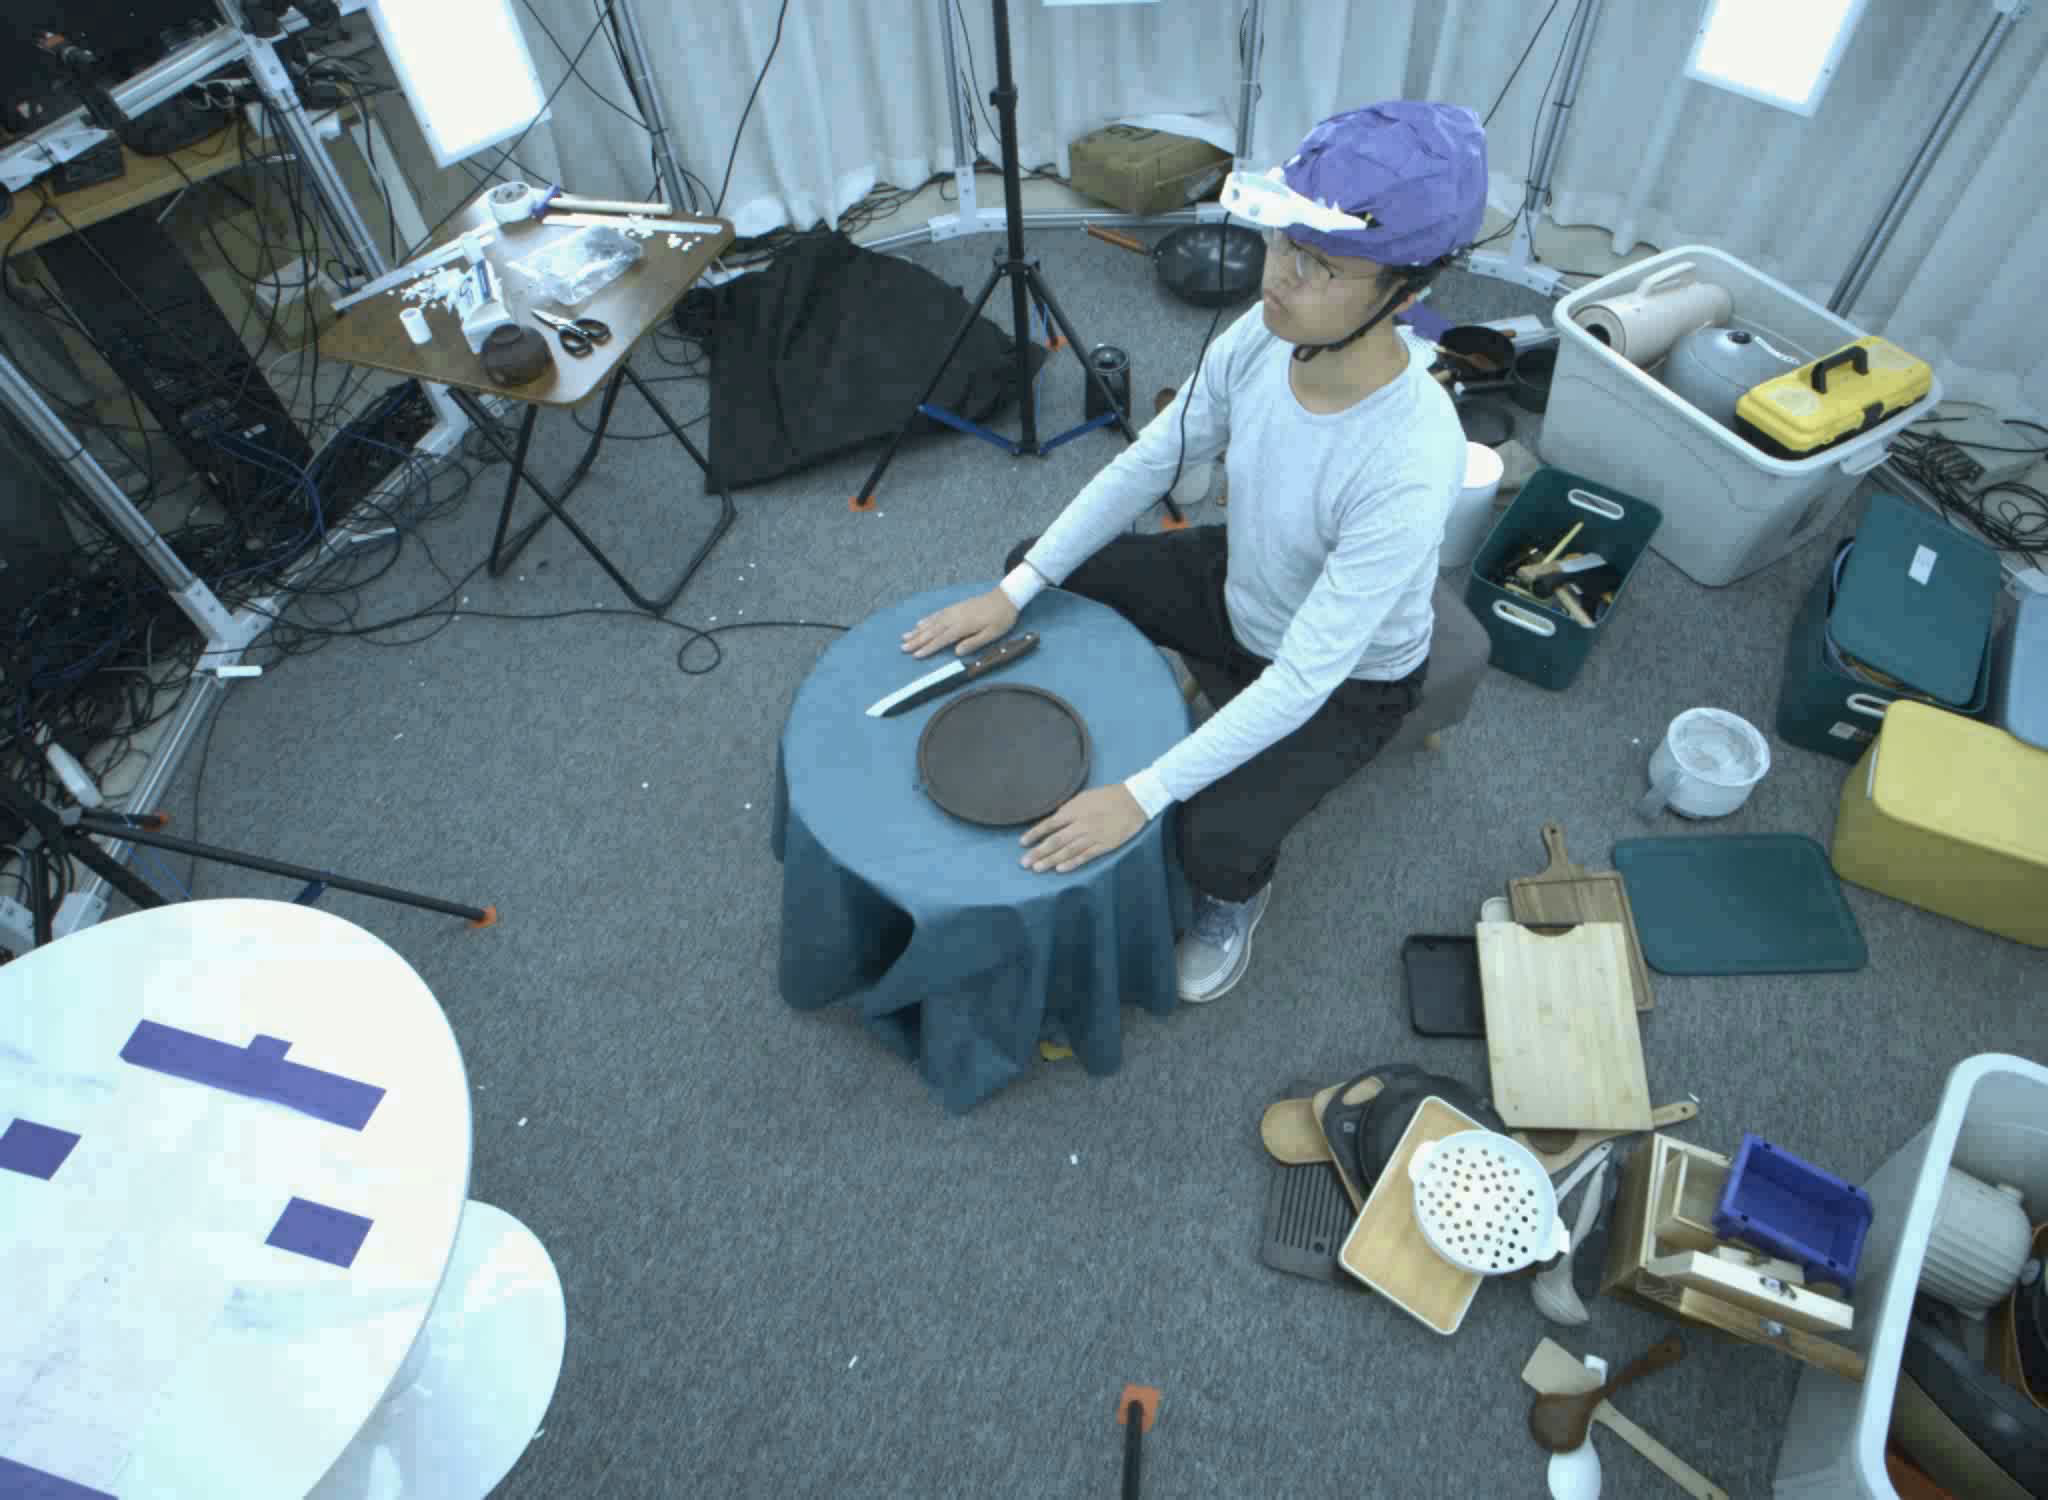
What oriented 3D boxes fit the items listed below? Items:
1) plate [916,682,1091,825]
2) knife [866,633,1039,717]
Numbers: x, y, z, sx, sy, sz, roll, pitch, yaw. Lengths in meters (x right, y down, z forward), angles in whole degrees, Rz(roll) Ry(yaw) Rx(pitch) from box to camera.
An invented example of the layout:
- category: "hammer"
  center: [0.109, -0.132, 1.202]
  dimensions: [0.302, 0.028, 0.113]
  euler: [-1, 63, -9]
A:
- category: "plate"
  center: [-0.030, 0.004, 1.777]
  dimensions: [0.255, 0.029, 0.252]
  euler: [0, 52, 1]
- category: "knife"
  center: [-0.108, -0.113, 1.870]
  dimensions: [0.291, 0.020, 0.049]
  euler: [-25, 52, -13]
